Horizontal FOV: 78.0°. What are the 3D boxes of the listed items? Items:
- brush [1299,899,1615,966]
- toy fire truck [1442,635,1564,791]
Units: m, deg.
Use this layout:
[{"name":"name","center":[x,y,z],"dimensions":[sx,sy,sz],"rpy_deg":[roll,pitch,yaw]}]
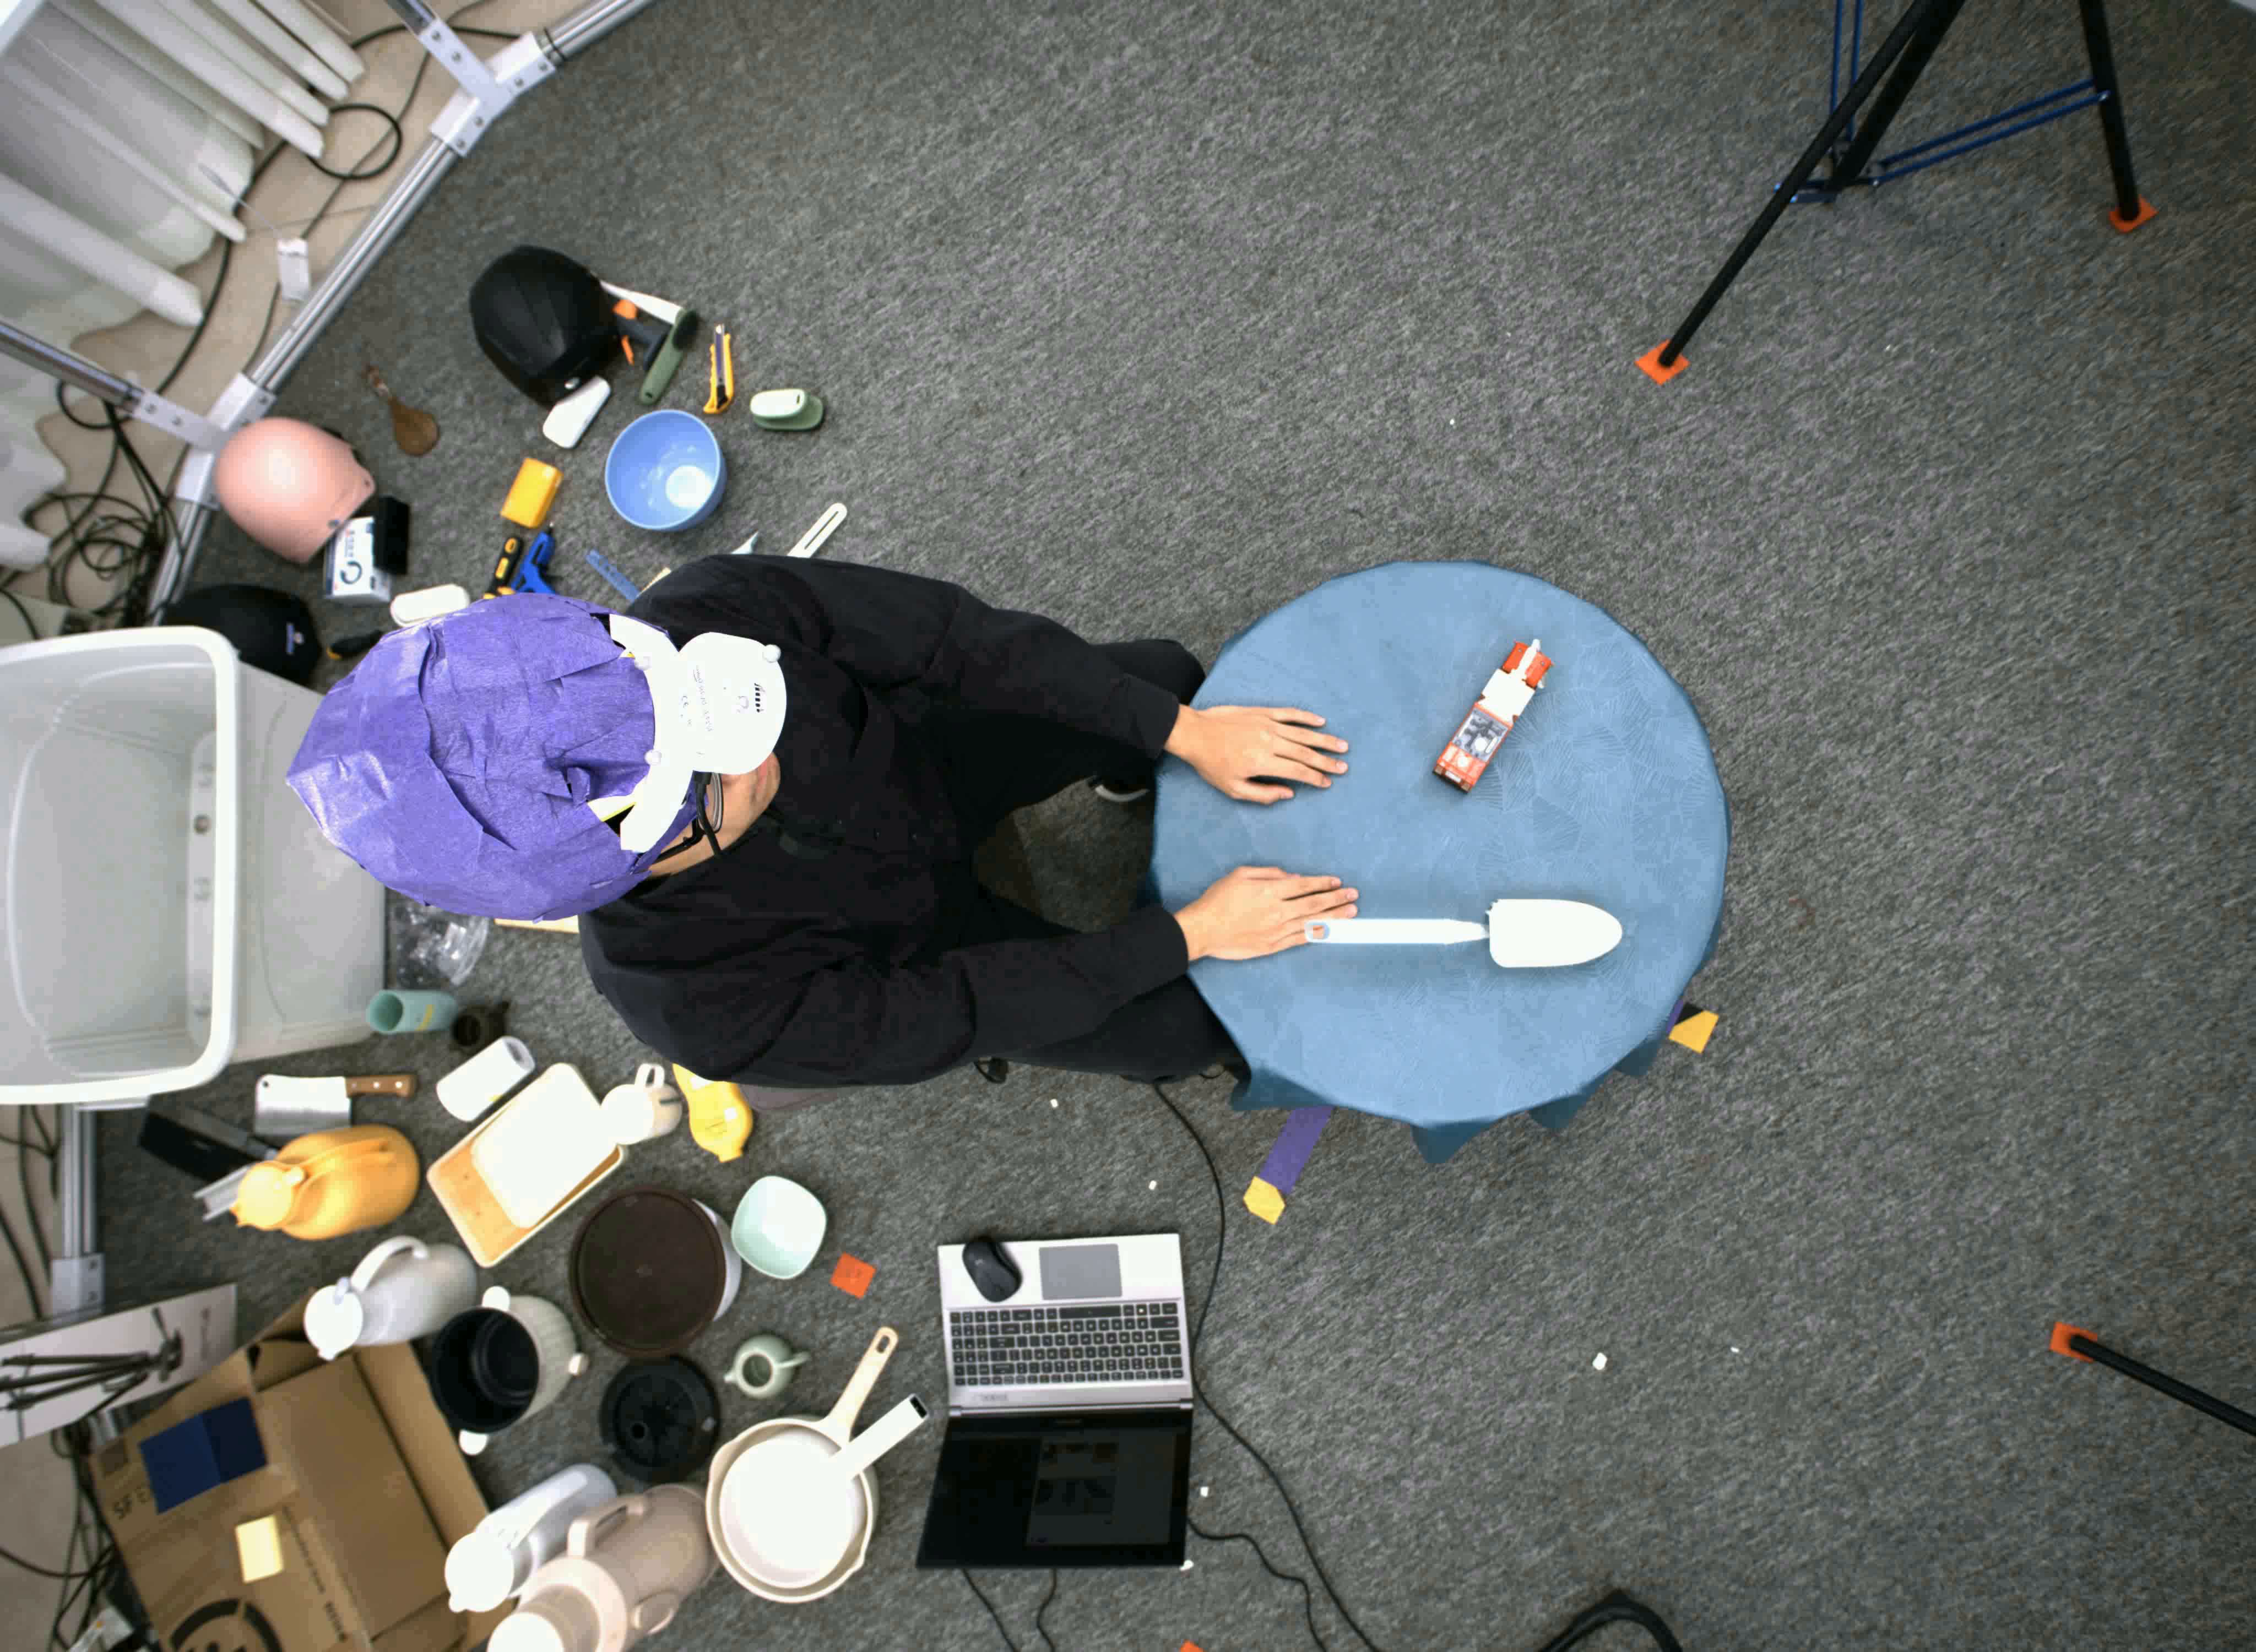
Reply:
[{"name":"brush","center":[0.330,0.102,1.404],"dimensions":[0.326,0.087,0.081],"rpy_deg":[0,49,-2]},{"name":"toy fire truck","center":[0.388,-0.121,1.417],"dimensions":[0.054,0.070,0.168],"rpy_deg":[32,93,13]}]
